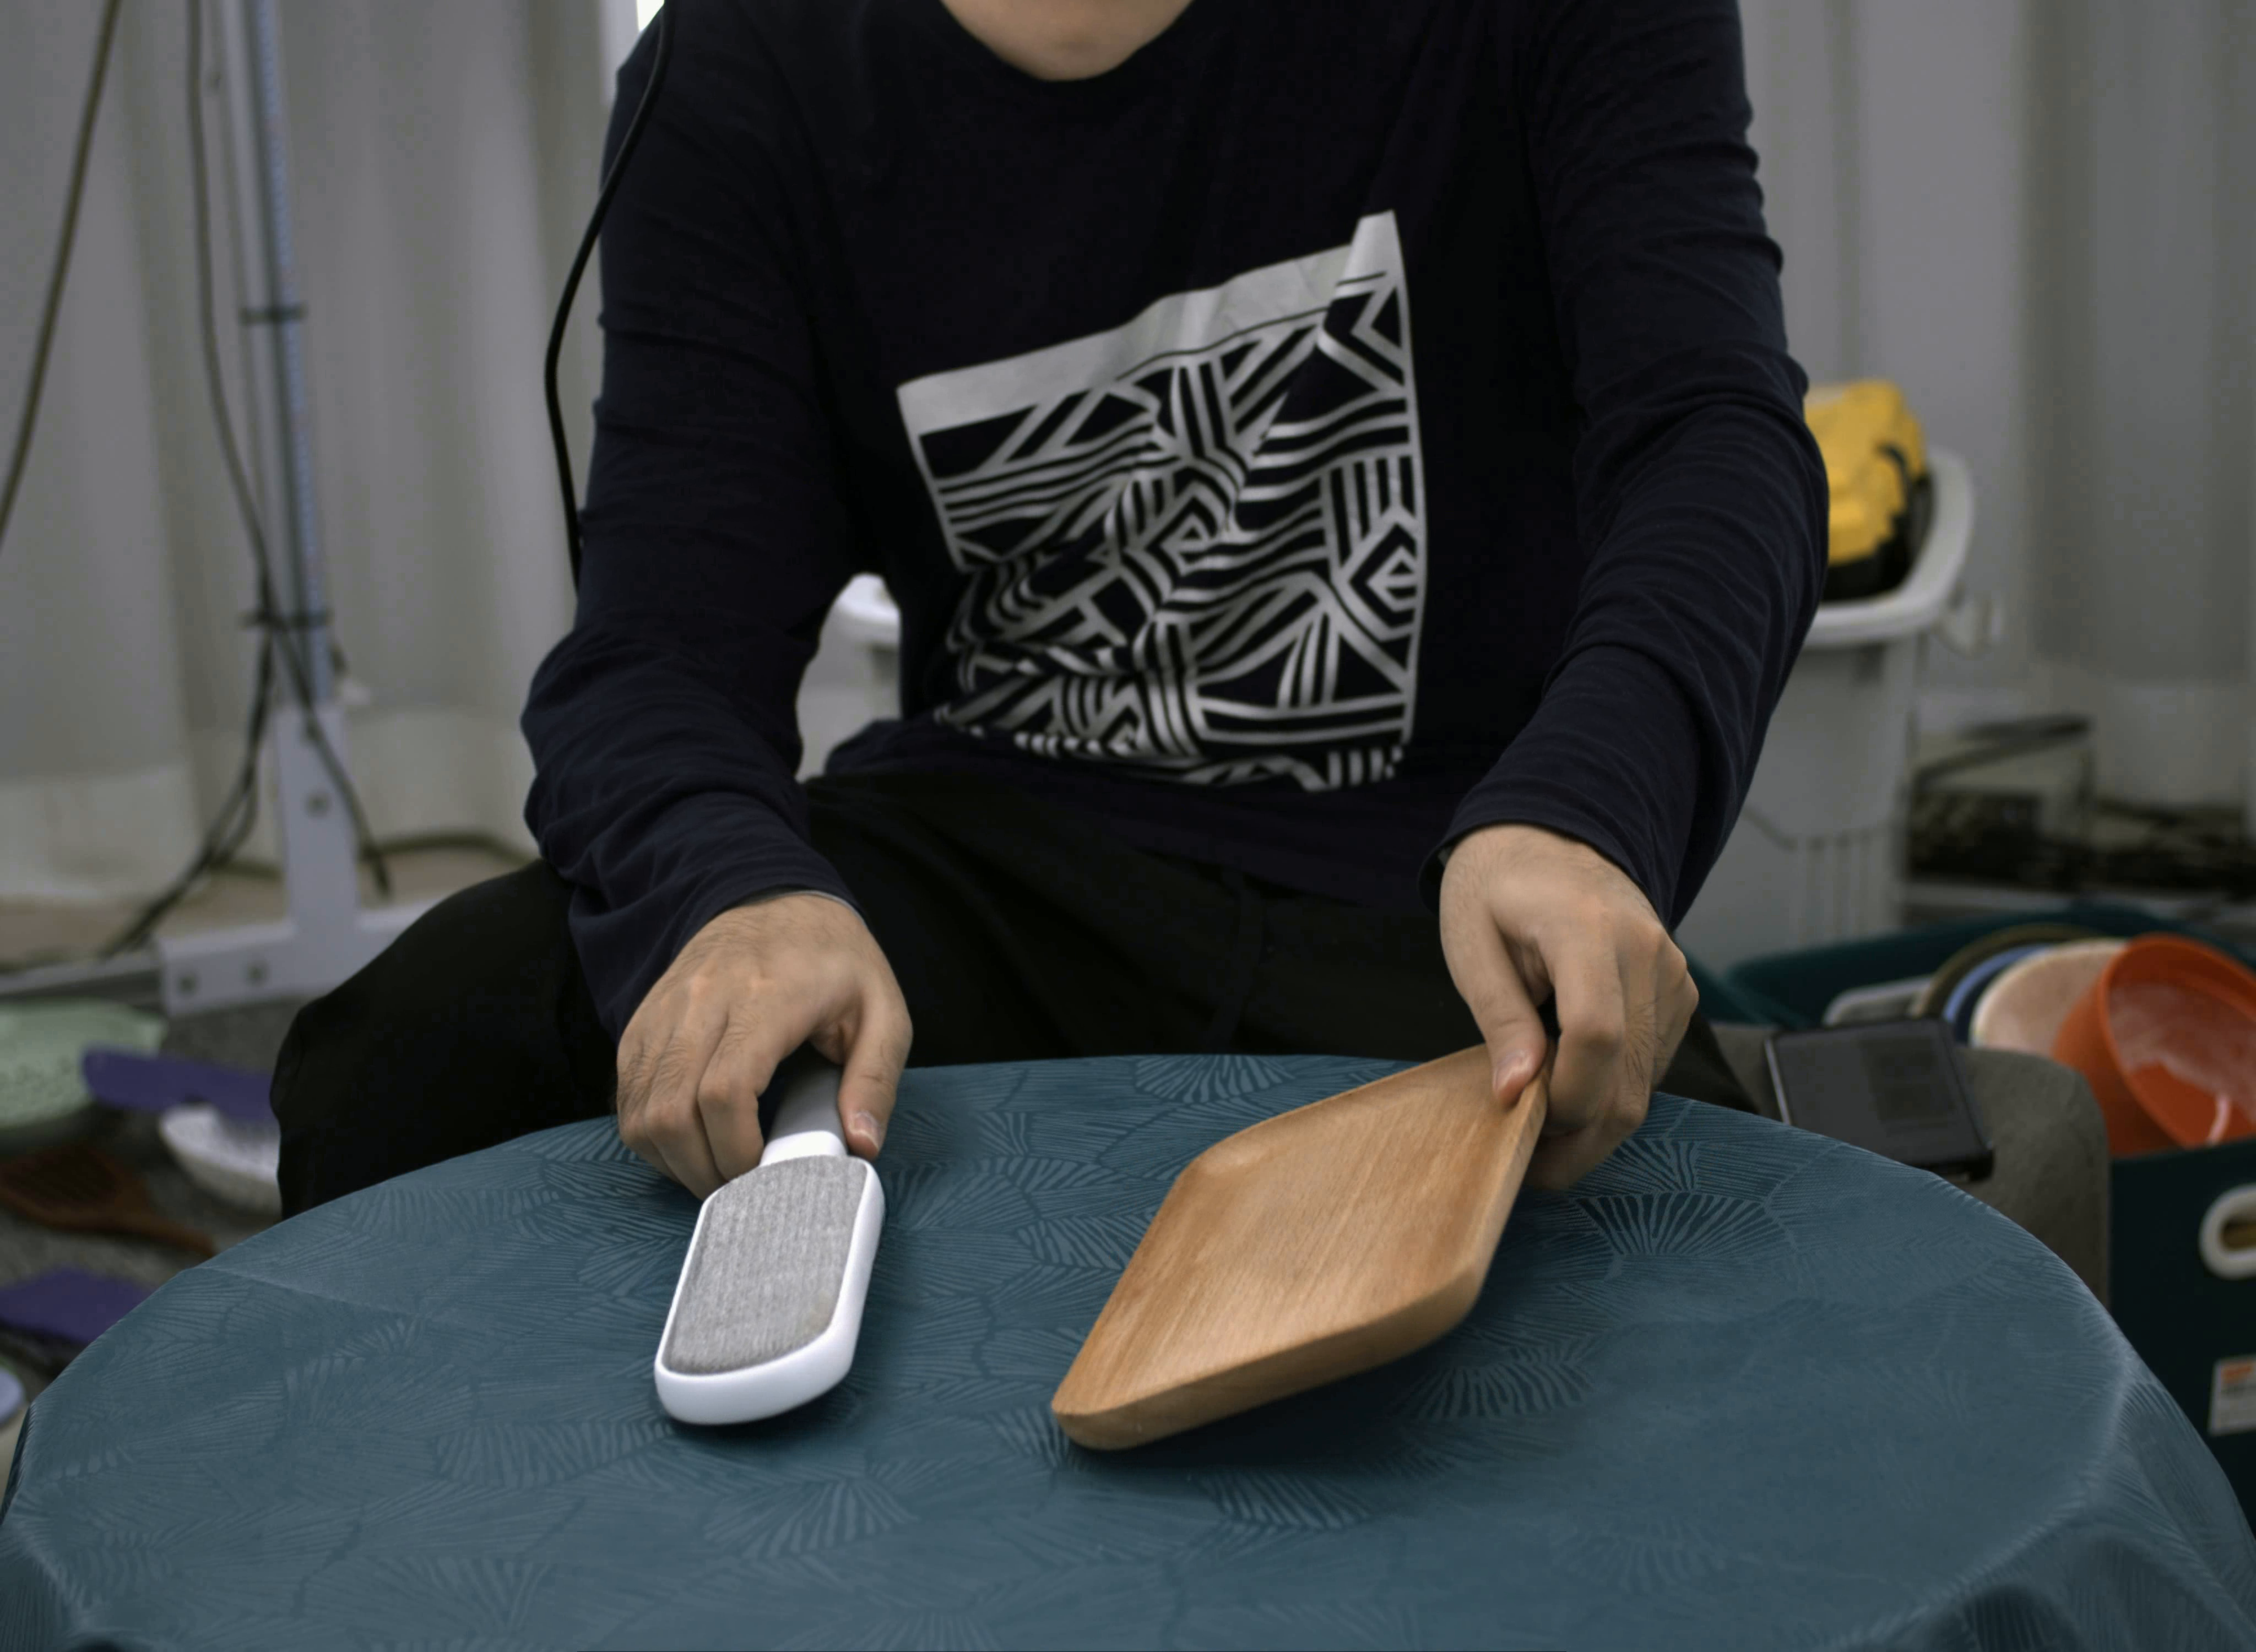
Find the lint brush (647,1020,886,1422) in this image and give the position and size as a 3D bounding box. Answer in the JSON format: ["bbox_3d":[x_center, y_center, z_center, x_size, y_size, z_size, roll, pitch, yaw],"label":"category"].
[{"bbox_3d":[-0.101,0.115,1.662,0.060,0.021,0.311,-15,15,6],"label":"lint brush"}]

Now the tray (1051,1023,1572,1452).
[{"bbox_3d":[0.058,0.117,1.588,0.130,0.023,0.252,-17,11,17],"label":"tray"}]
